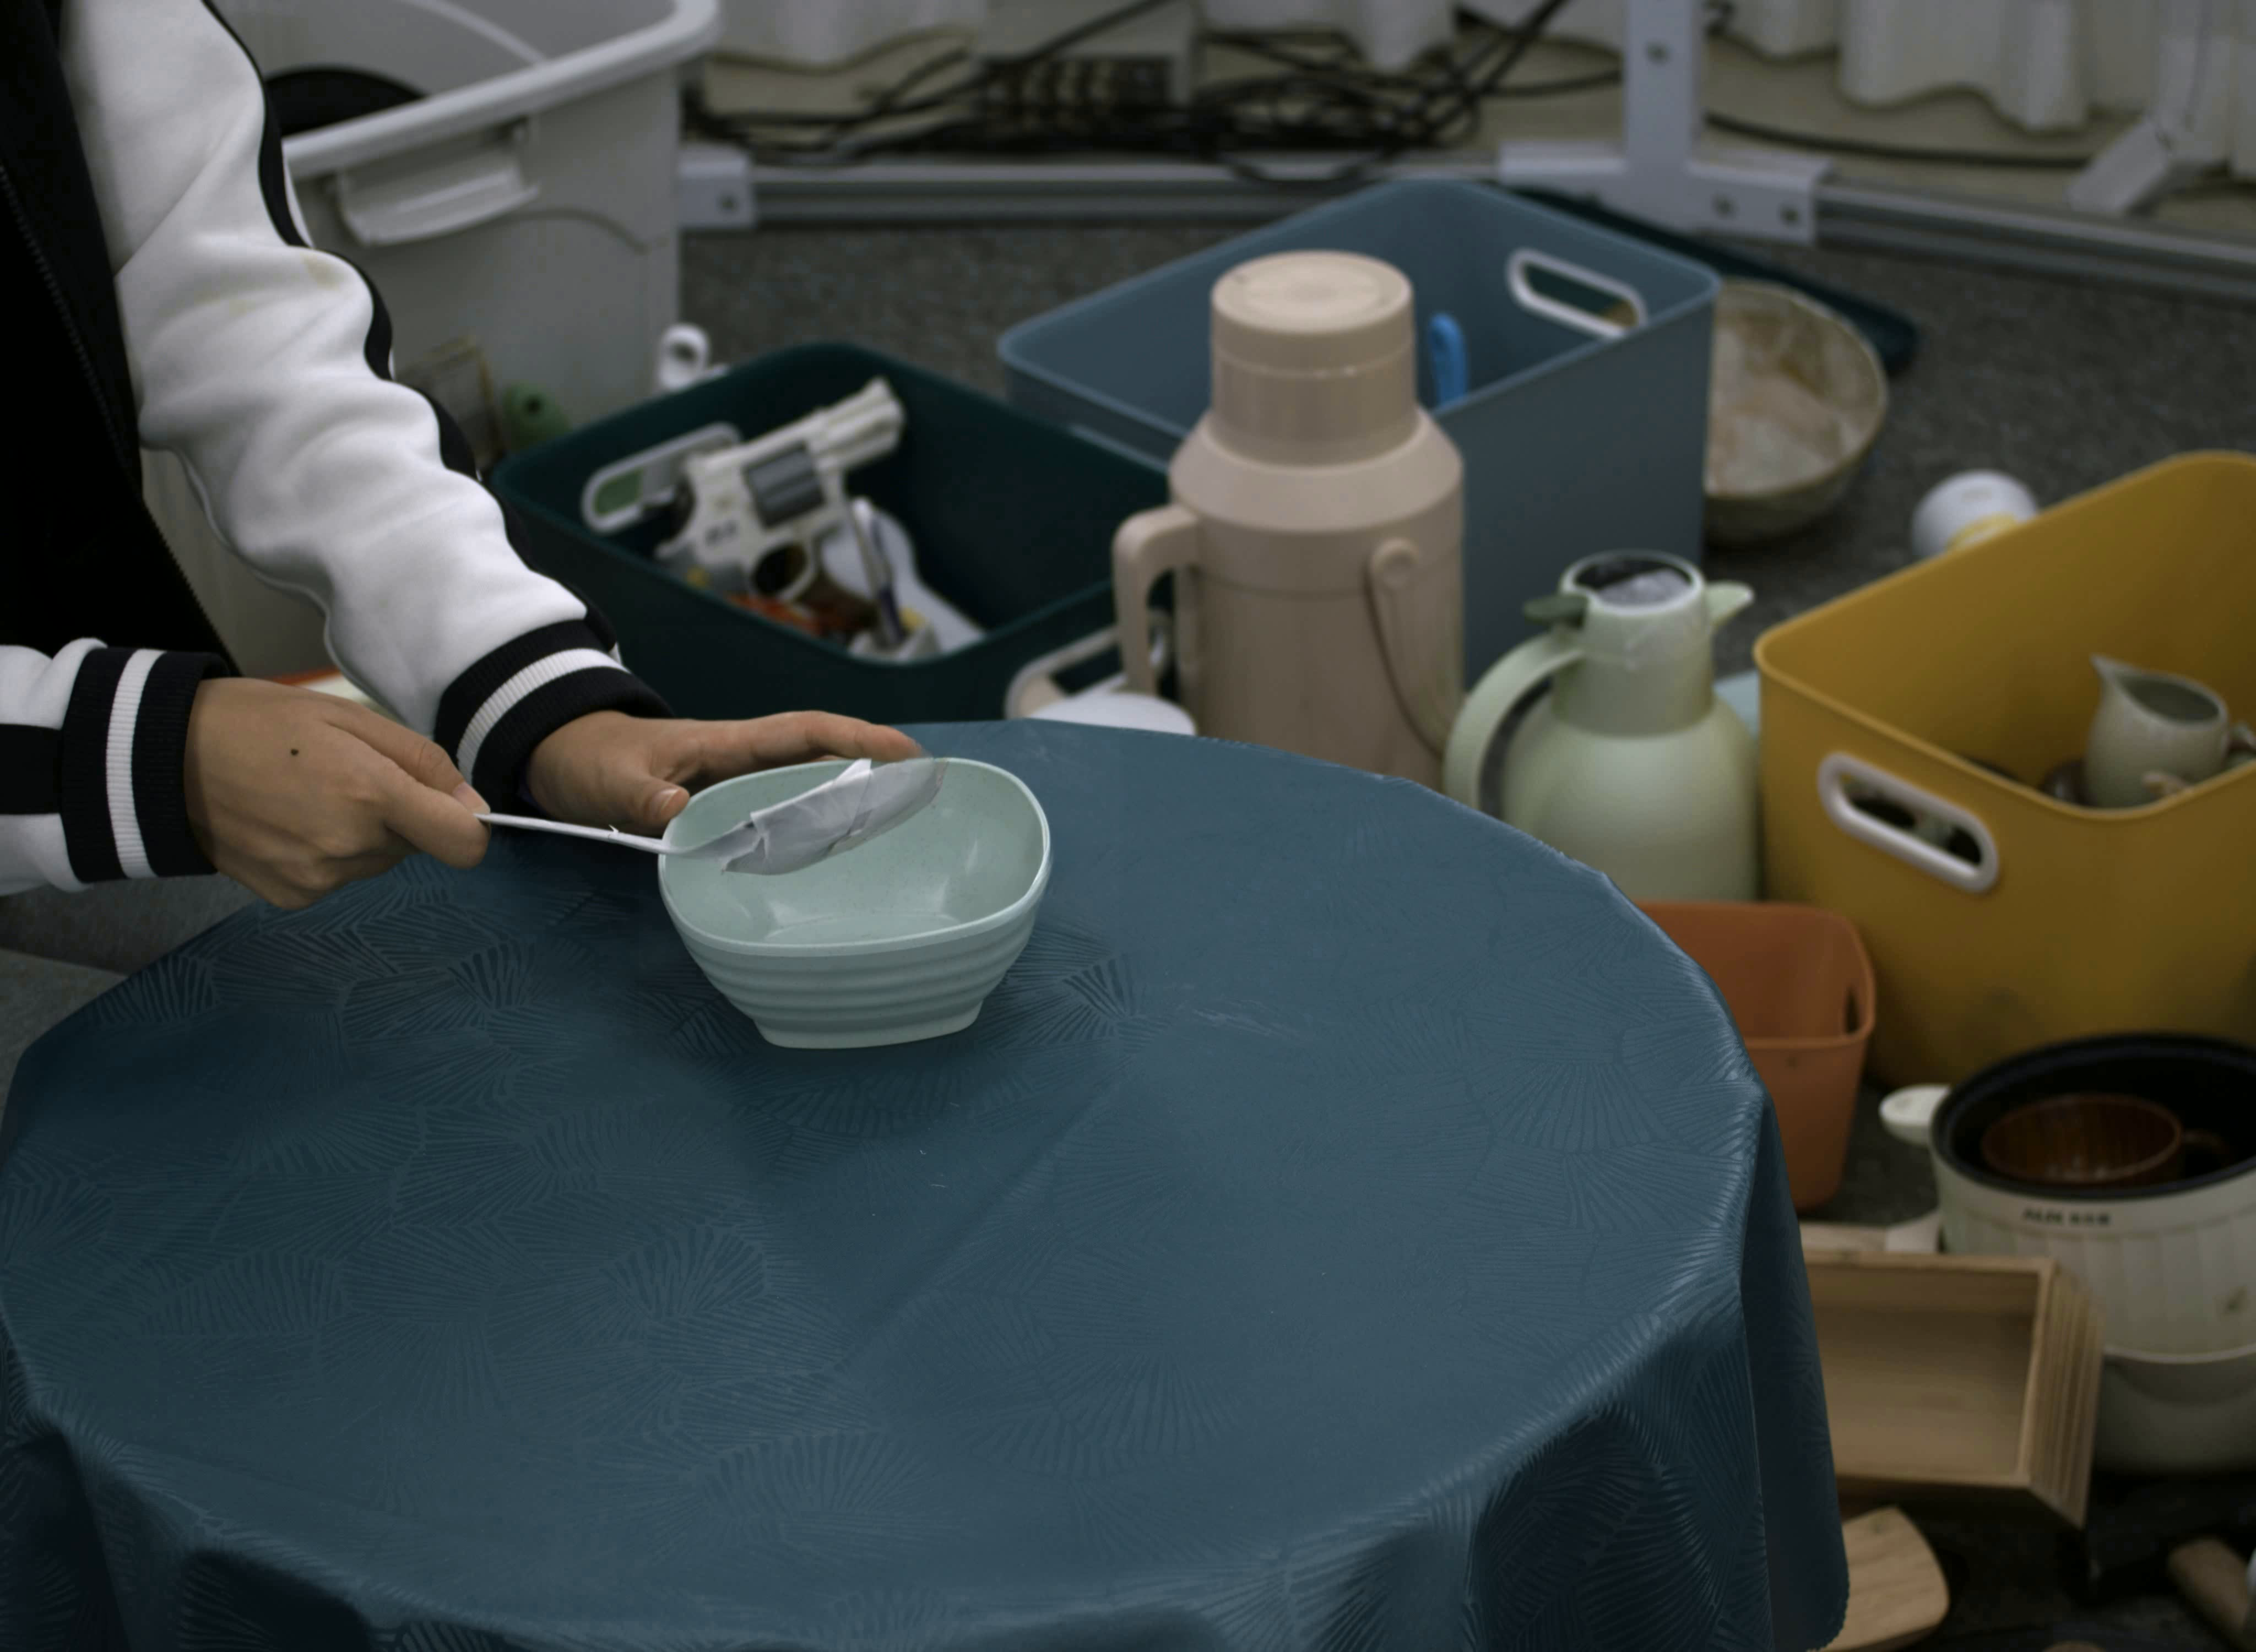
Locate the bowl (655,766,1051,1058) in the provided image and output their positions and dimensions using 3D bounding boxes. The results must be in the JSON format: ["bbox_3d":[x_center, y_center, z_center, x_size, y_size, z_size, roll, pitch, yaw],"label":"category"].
[{"bbox_3d":[-0.095,0.036,1.981,0.151,0.058,0.154,-2,27,2],"label":"bowl"}]

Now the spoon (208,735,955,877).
[{"bbox_3d":[-0.193,-0.024,1.964,0.276,0.060,0.100,10,-2,20],"label":"spoon"}]
